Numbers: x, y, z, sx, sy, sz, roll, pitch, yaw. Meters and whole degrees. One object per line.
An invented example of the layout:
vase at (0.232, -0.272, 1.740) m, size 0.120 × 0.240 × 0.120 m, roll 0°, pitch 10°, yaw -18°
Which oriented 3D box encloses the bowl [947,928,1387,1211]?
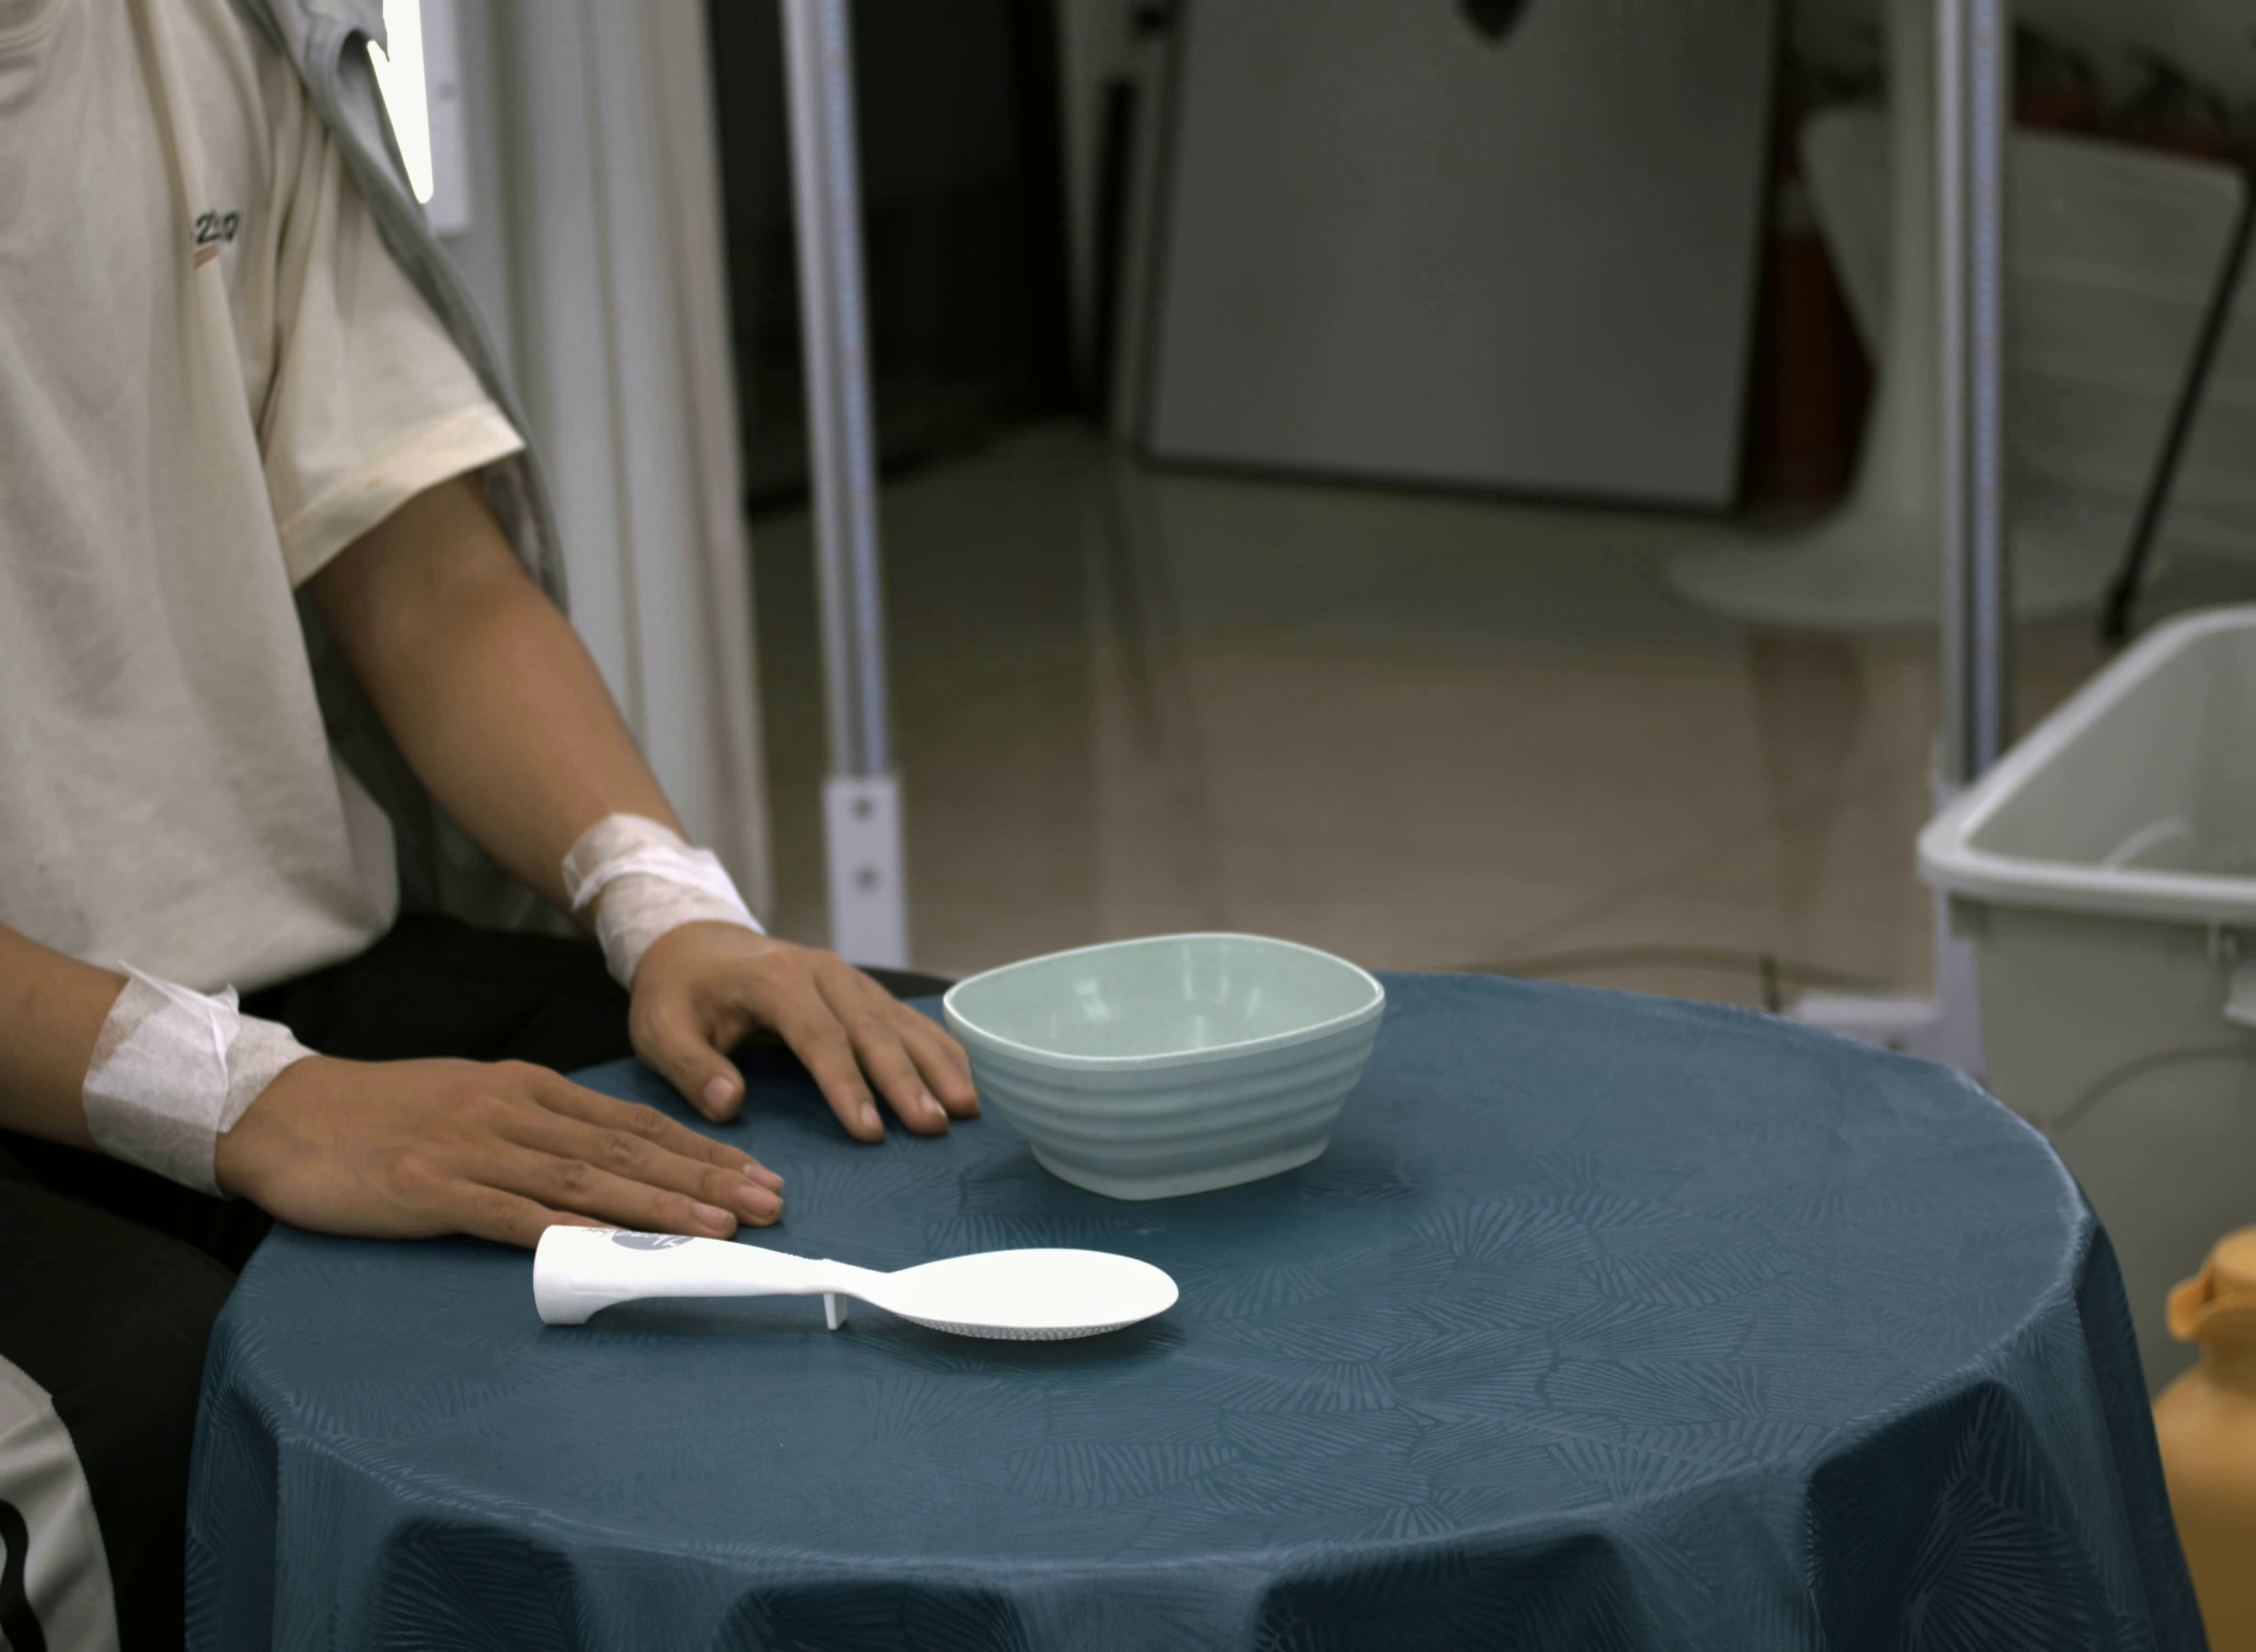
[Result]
bowl at (0.014, 0.084, 1.802) m, size 0.149 × 0.059 × 0.152 m, roll -4°, pitch 16°, yaw 0°

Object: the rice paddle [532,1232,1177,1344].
rice paddle at (-0.083, 0.141, 1.658) m, size 0.204 × 0.030 × 0.068 m, roll 0°, pitch 16°, yaw 16°
